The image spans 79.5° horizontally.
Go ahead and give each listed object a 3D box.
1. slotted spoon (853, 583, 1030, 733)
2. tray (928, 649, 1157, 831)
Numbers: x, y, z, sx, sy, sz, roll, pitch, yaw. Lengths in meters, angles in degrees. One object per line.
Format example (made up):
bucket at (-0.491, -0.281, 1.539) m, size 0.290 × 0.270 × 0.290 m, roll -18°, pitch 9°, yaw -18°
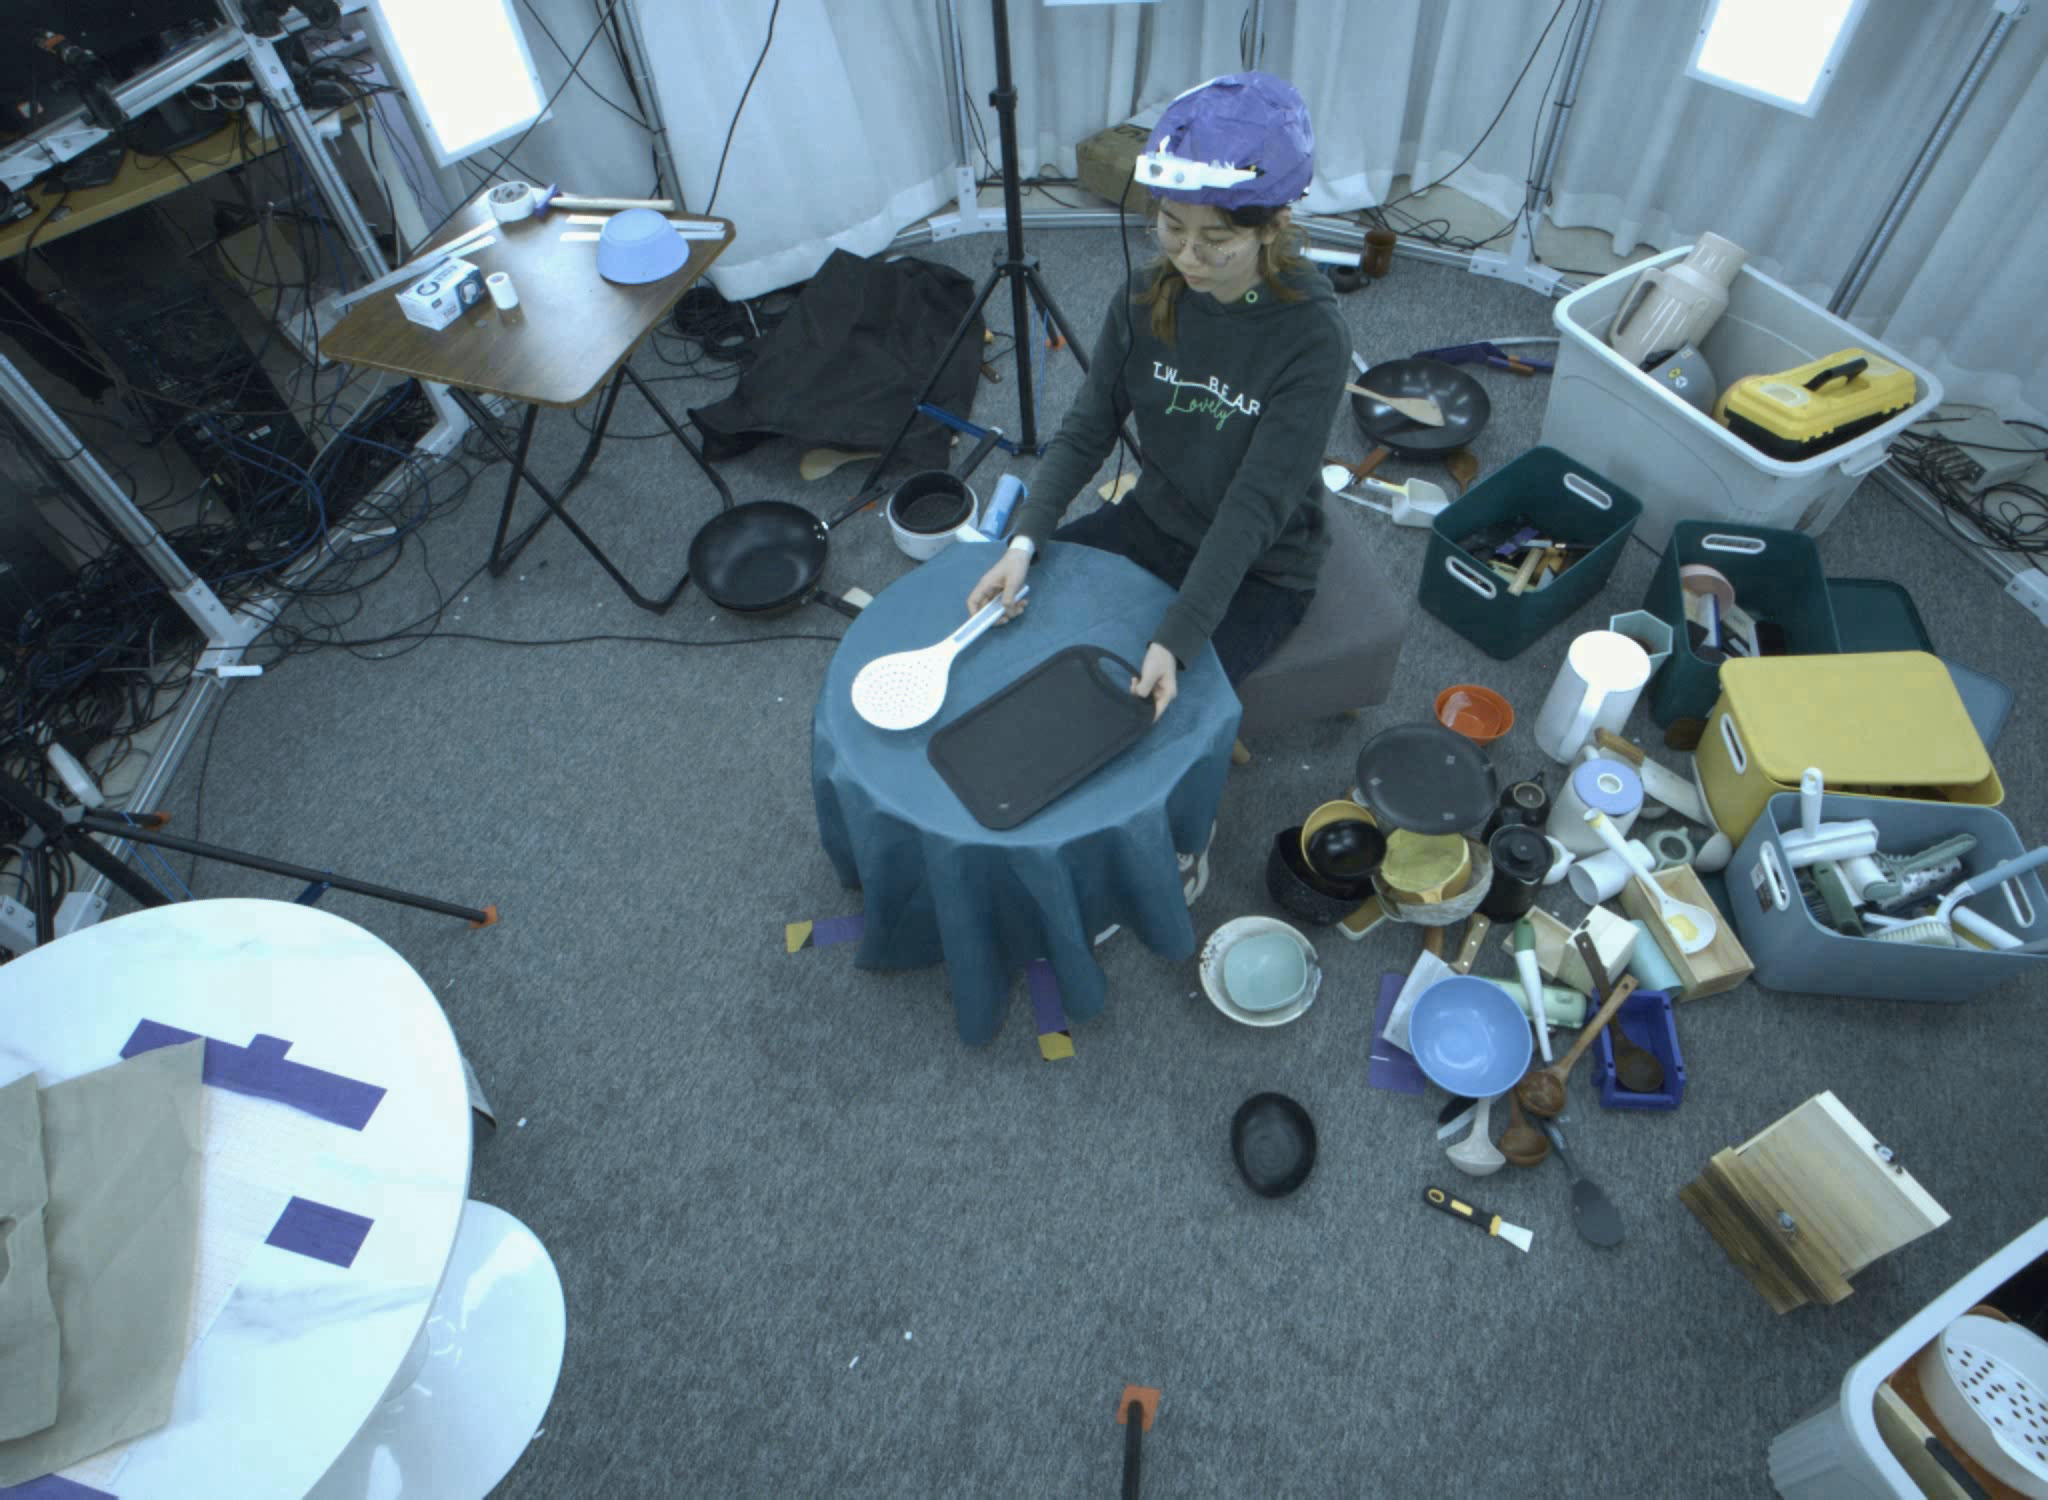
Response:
slotted spoon at (-0.114, -0.147, 1.865) m, size 0.134 × 0.046 × 0.351 m, roll 37°, pitch 68°, yaw 18°
tray at (0.032, -0.026, 1.788) m, size 0.327 × 0.010 × 0.207 m, roll -34°, pitch 58°, yaw -13°
